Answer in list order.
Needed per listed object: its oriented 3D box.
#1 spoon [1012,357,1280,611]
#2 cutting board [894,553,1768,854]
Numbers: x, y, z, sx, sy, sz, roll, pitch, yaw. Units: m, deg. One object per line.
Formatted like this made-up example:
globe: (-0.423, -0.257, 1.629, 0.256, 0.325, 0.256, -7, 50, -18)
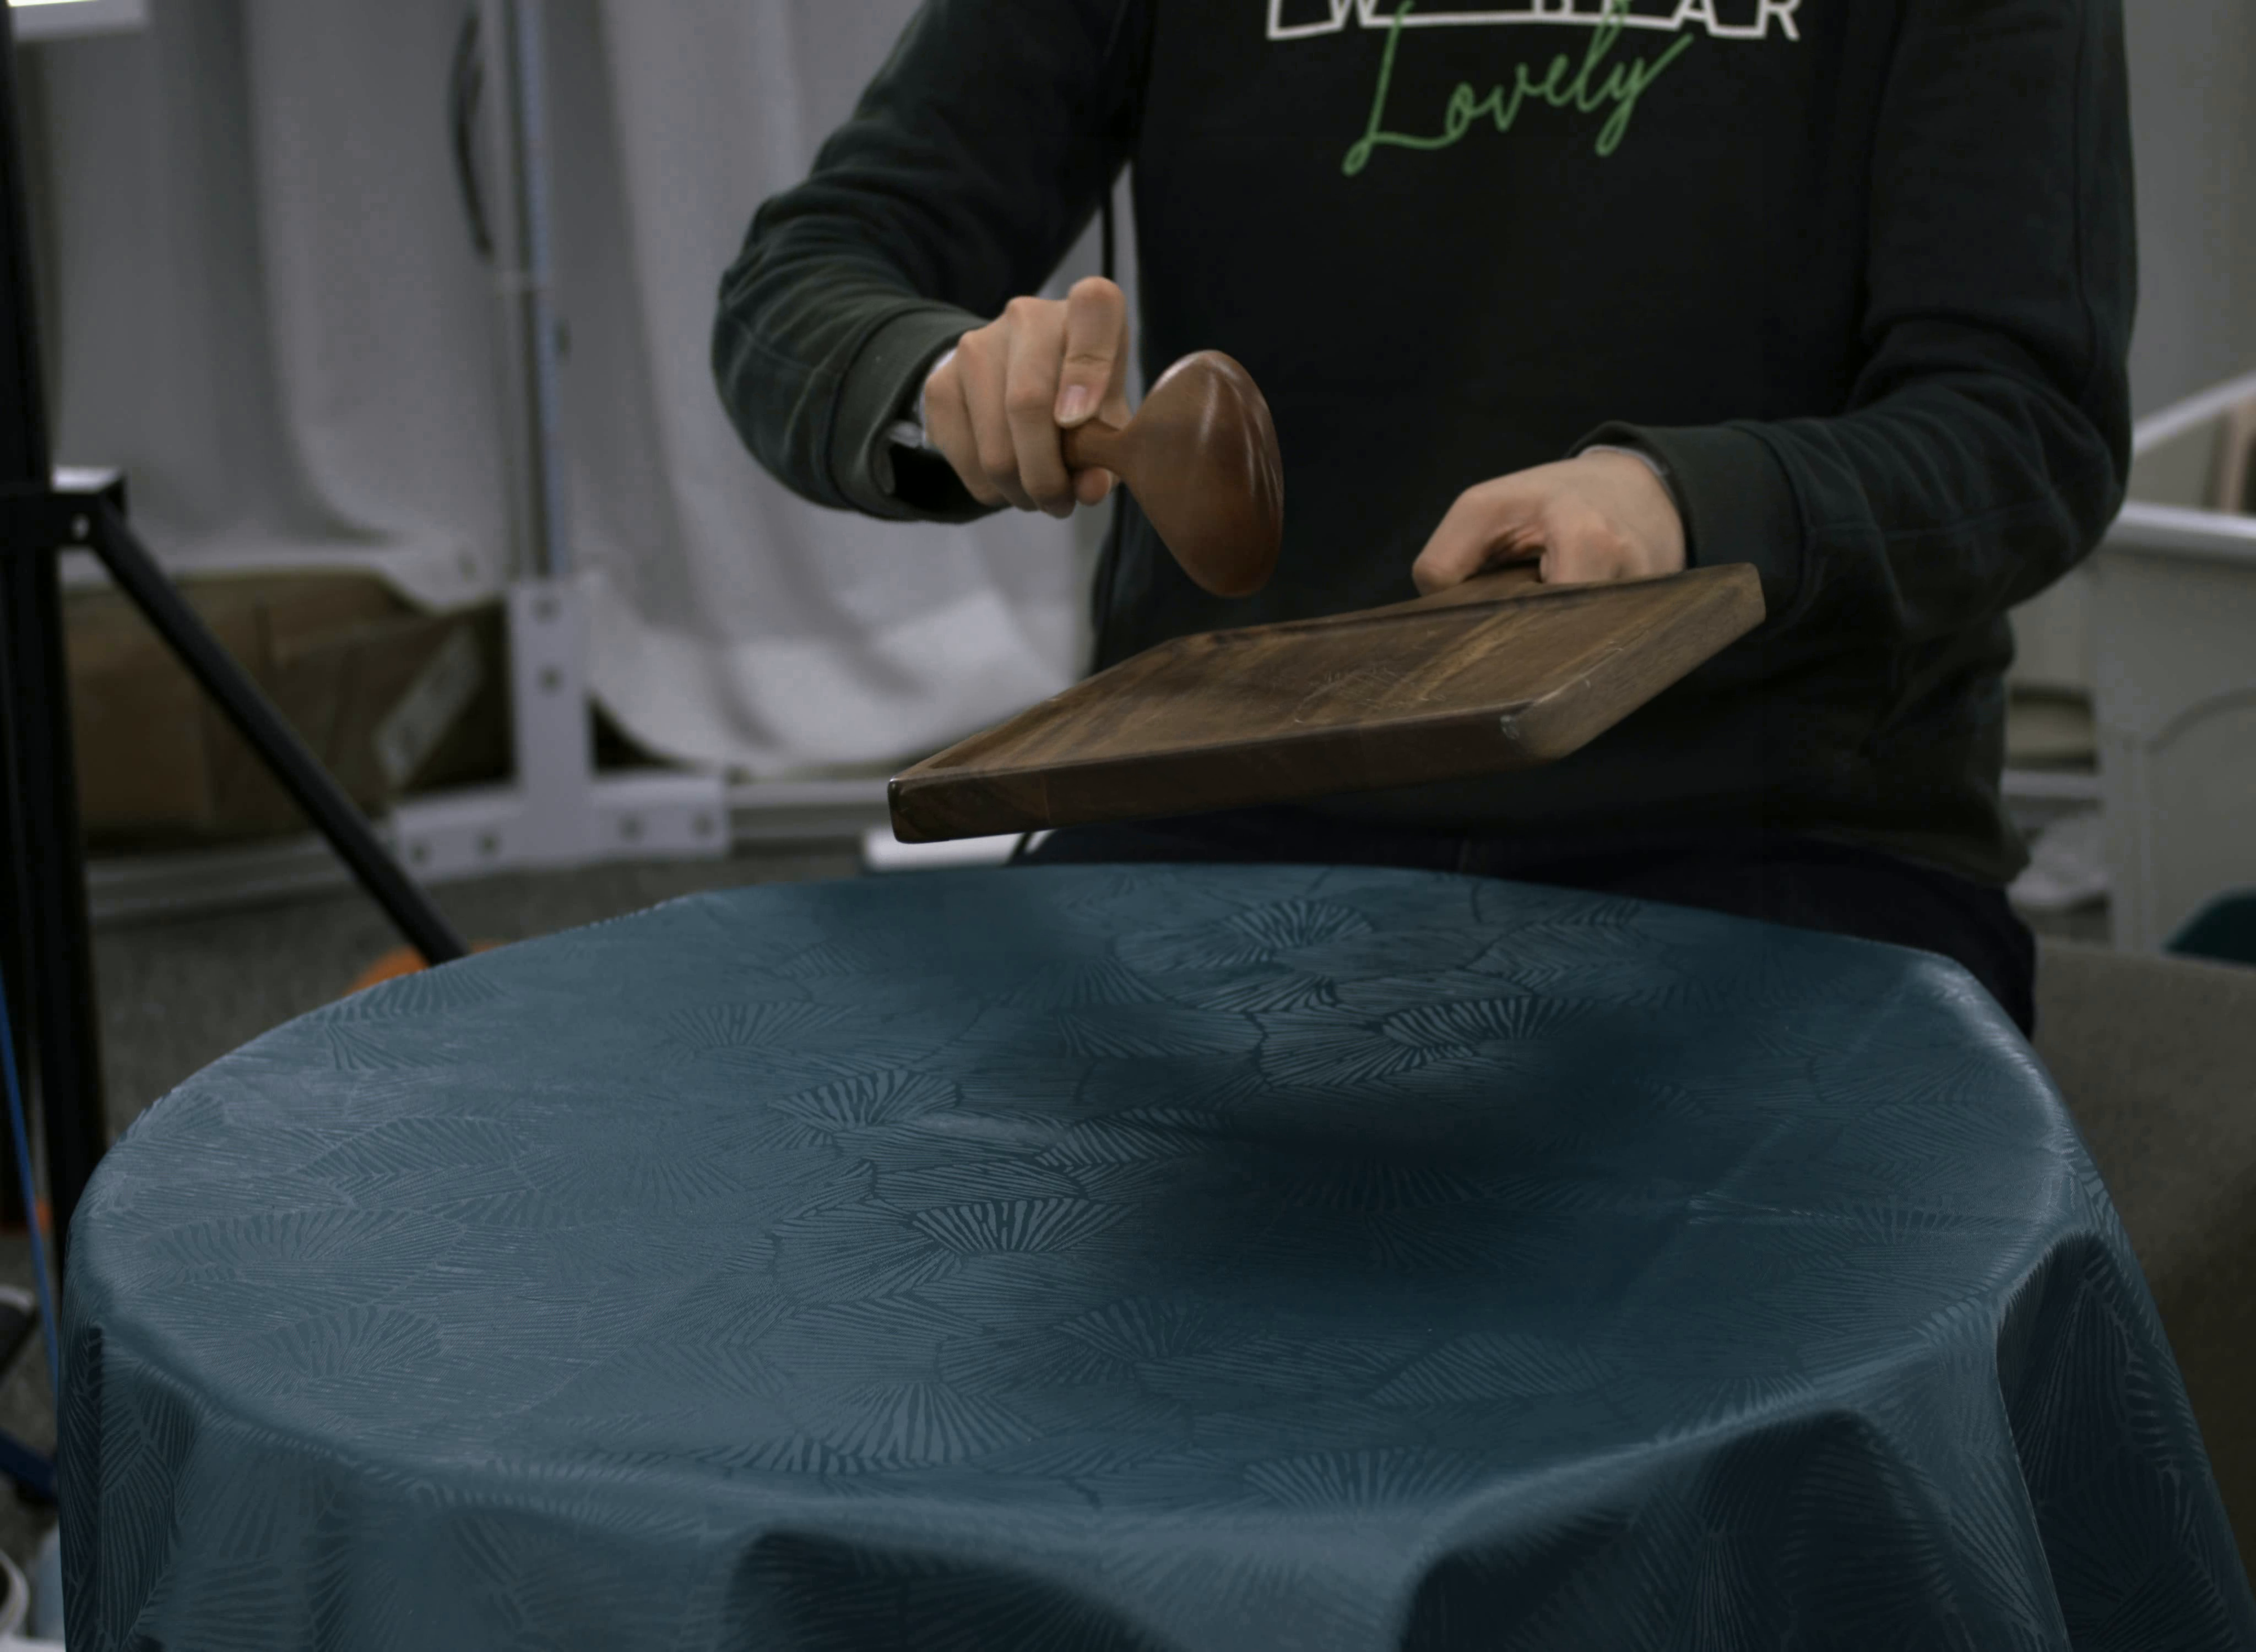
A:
spoon: (0.003, -0.112, 1.635, 0.017, 0.075, 0.219, -9, 13, -17)
cutting board: (0.081, -0.045, 1.583, 0.203, 0.023, 0.347, -8, 8, 22)
